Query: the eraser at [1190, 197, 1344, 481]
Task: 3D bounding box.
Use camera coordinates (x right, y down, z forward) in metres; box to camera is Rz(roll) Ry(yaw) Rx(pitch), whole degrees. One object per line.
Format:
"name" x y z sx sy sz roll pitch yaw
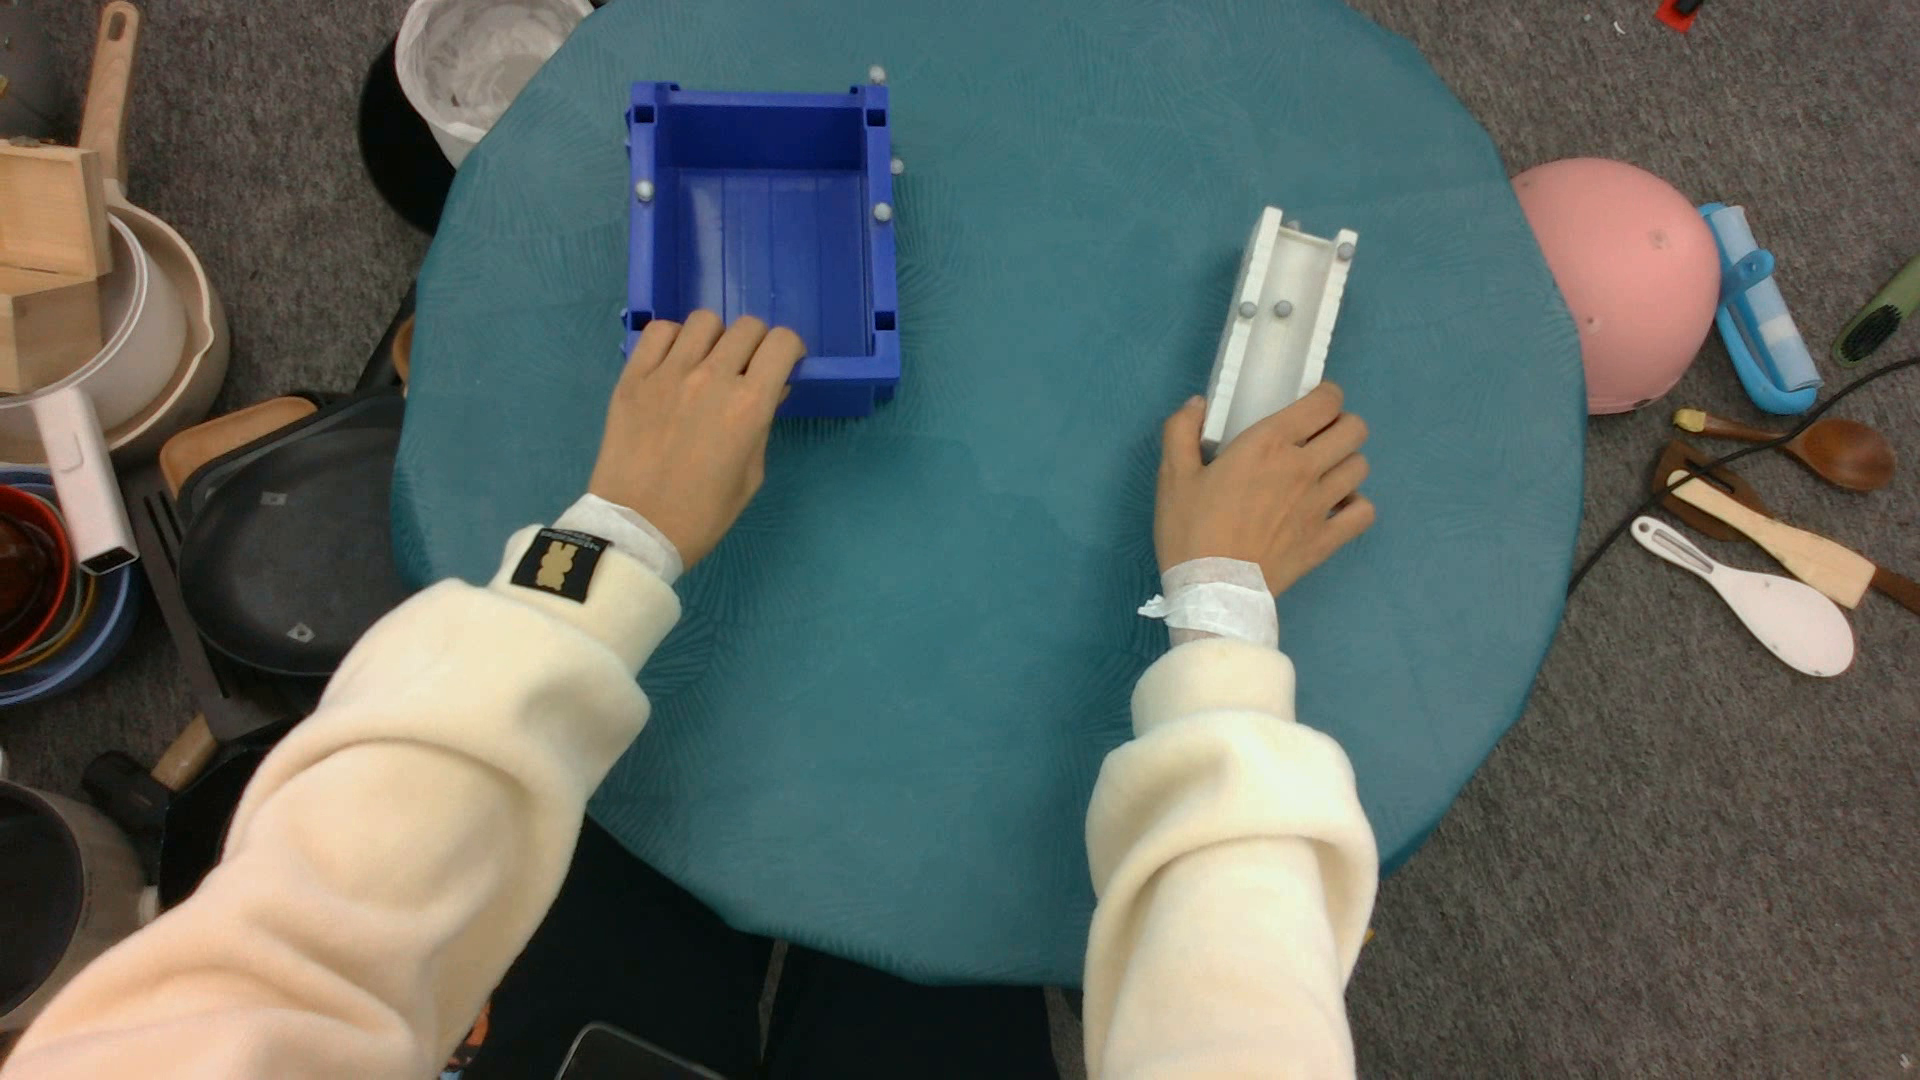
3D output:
"eraser" 0.153 -0.101 0.694 0.050 0.046 0.134 16 71 -2

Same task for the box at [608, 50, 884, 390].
"box" -0.101 -0.160 0.669 0.124 0.081 0.180 0 75 -5
